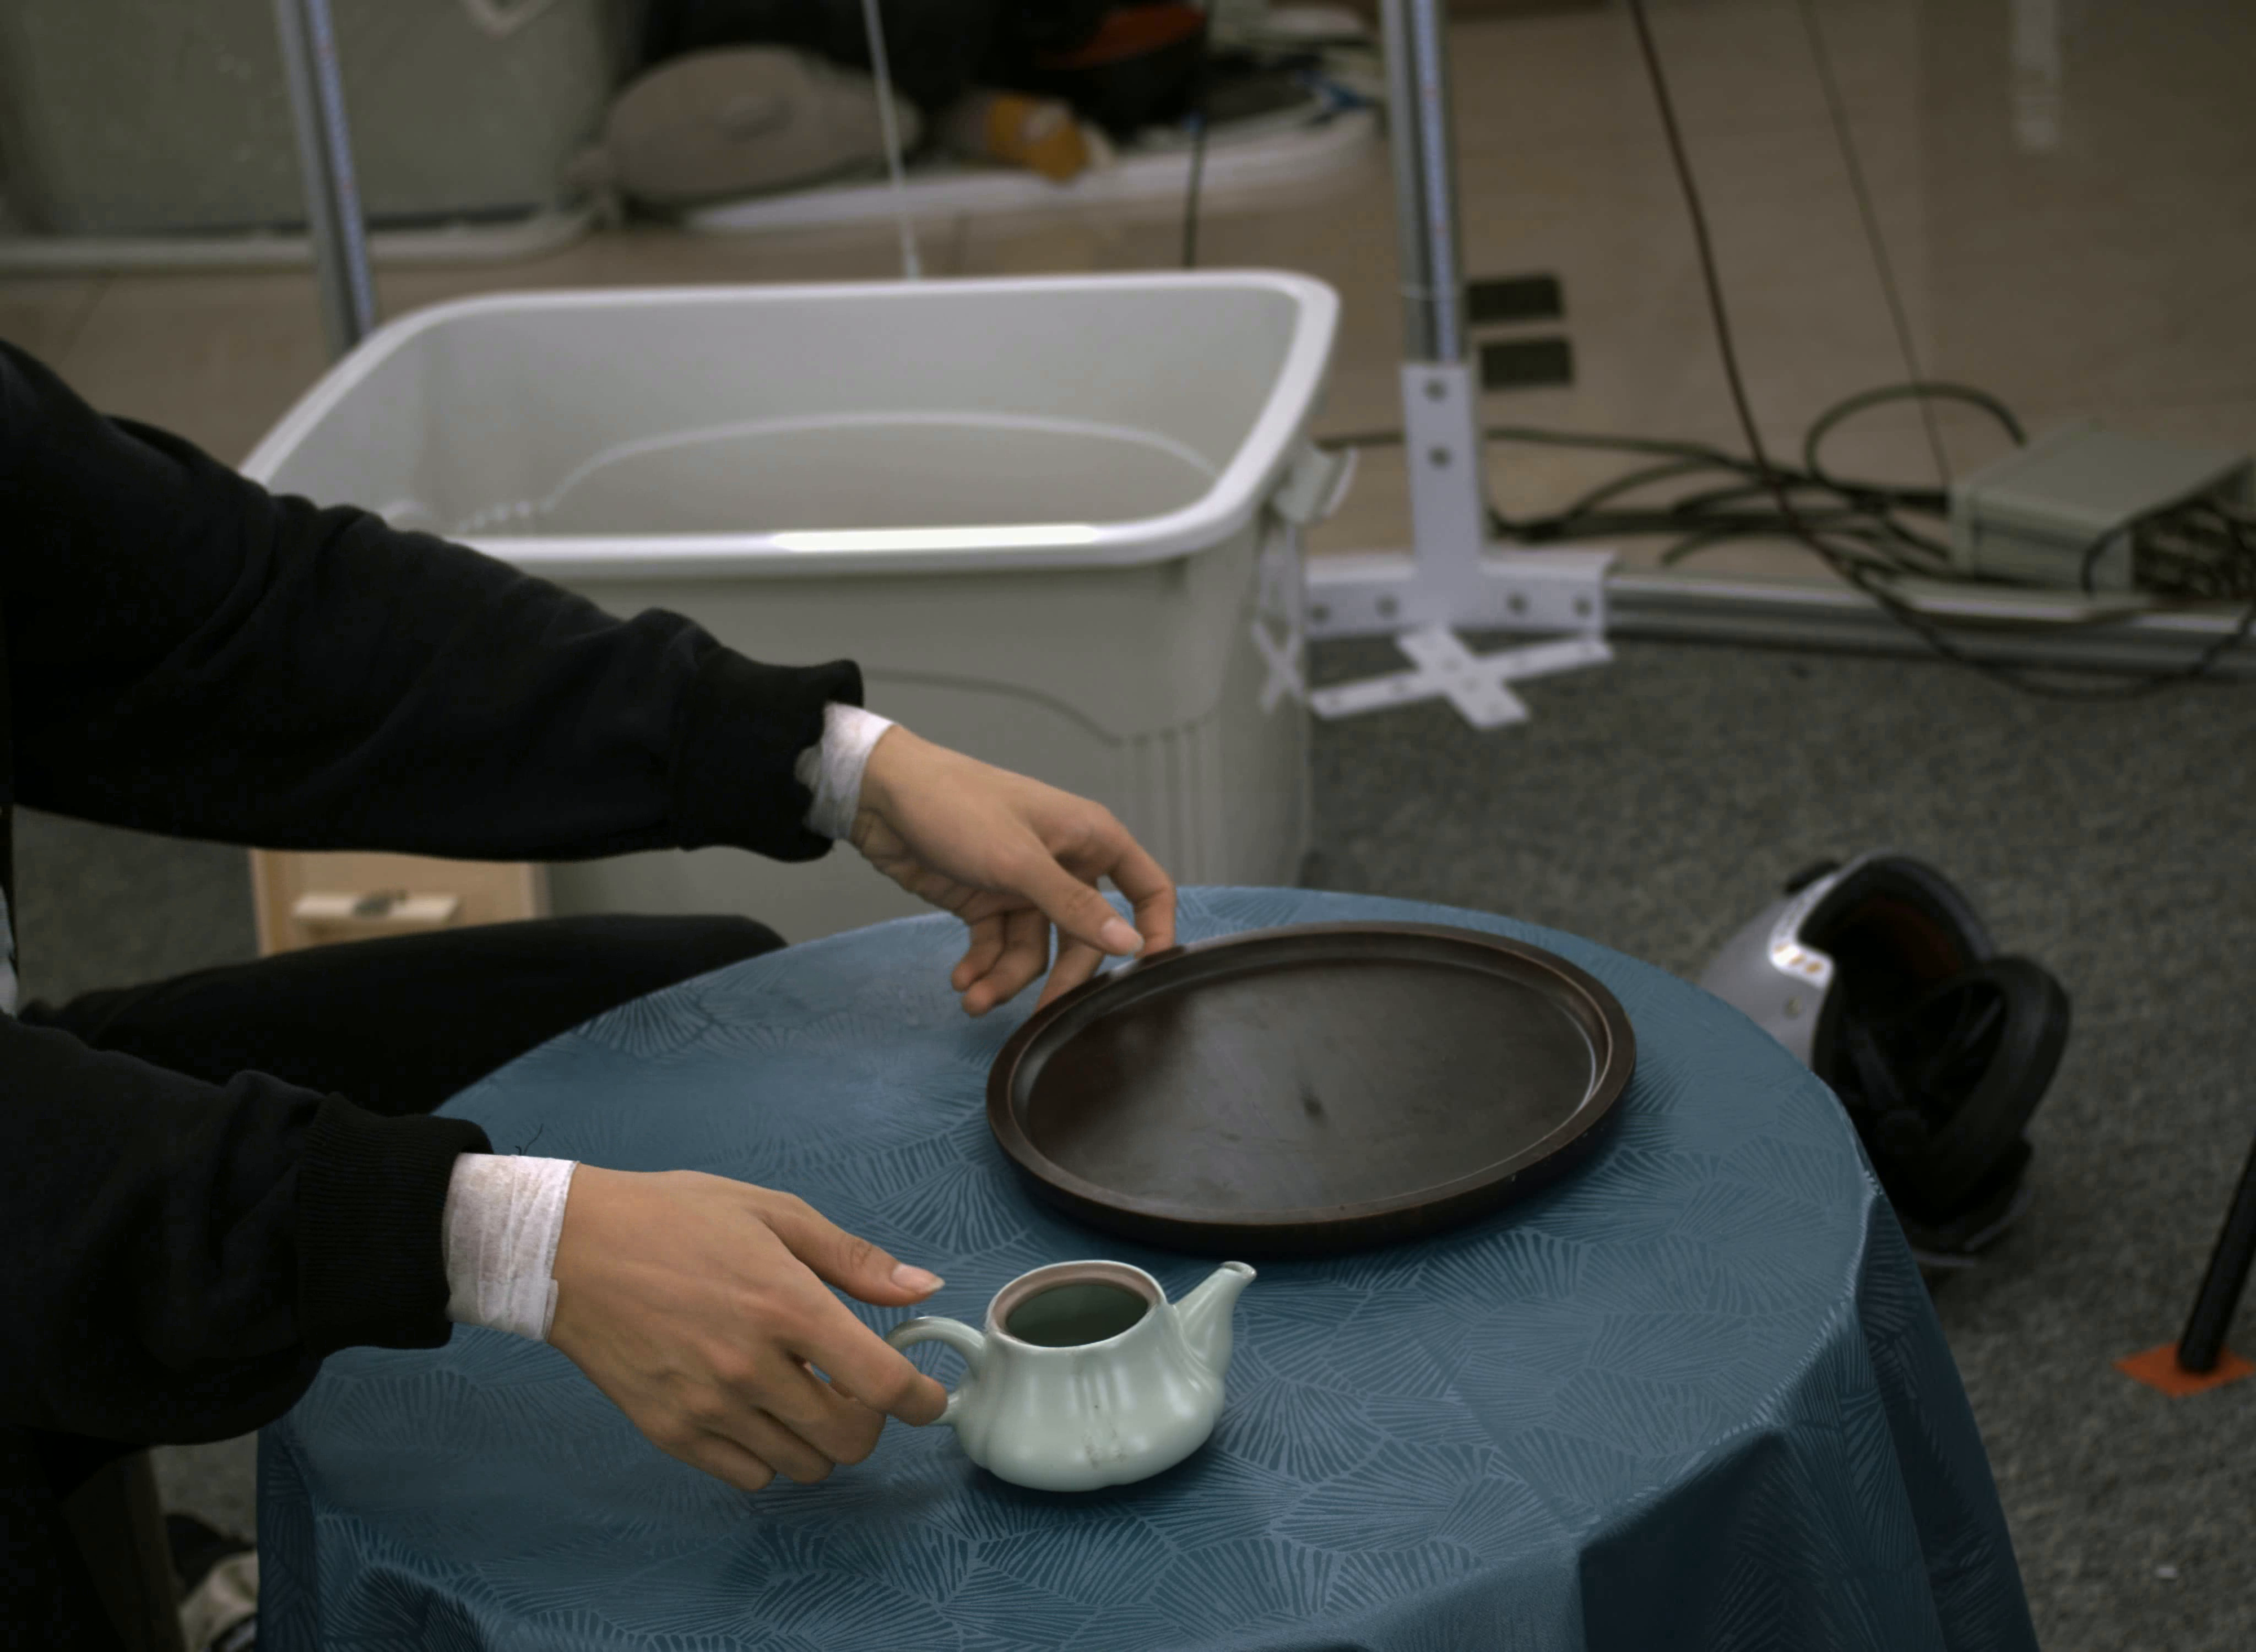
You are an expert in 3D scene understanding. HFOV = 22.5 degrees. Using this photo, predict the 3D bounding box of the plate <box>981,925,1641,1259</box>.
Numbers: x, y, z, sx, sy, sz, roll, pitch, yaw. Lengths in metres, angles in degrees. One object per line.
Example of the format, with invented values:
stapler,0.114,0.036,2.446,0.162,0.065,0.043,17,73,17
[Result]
plate,0.071,0.100,2.187,0.254,0.029,0.251,-5,26,2

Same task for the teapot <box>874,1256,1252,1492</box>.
teapot,-0.021,0.190,1.973,0.136,0.062,0.095,-10,27,-9
